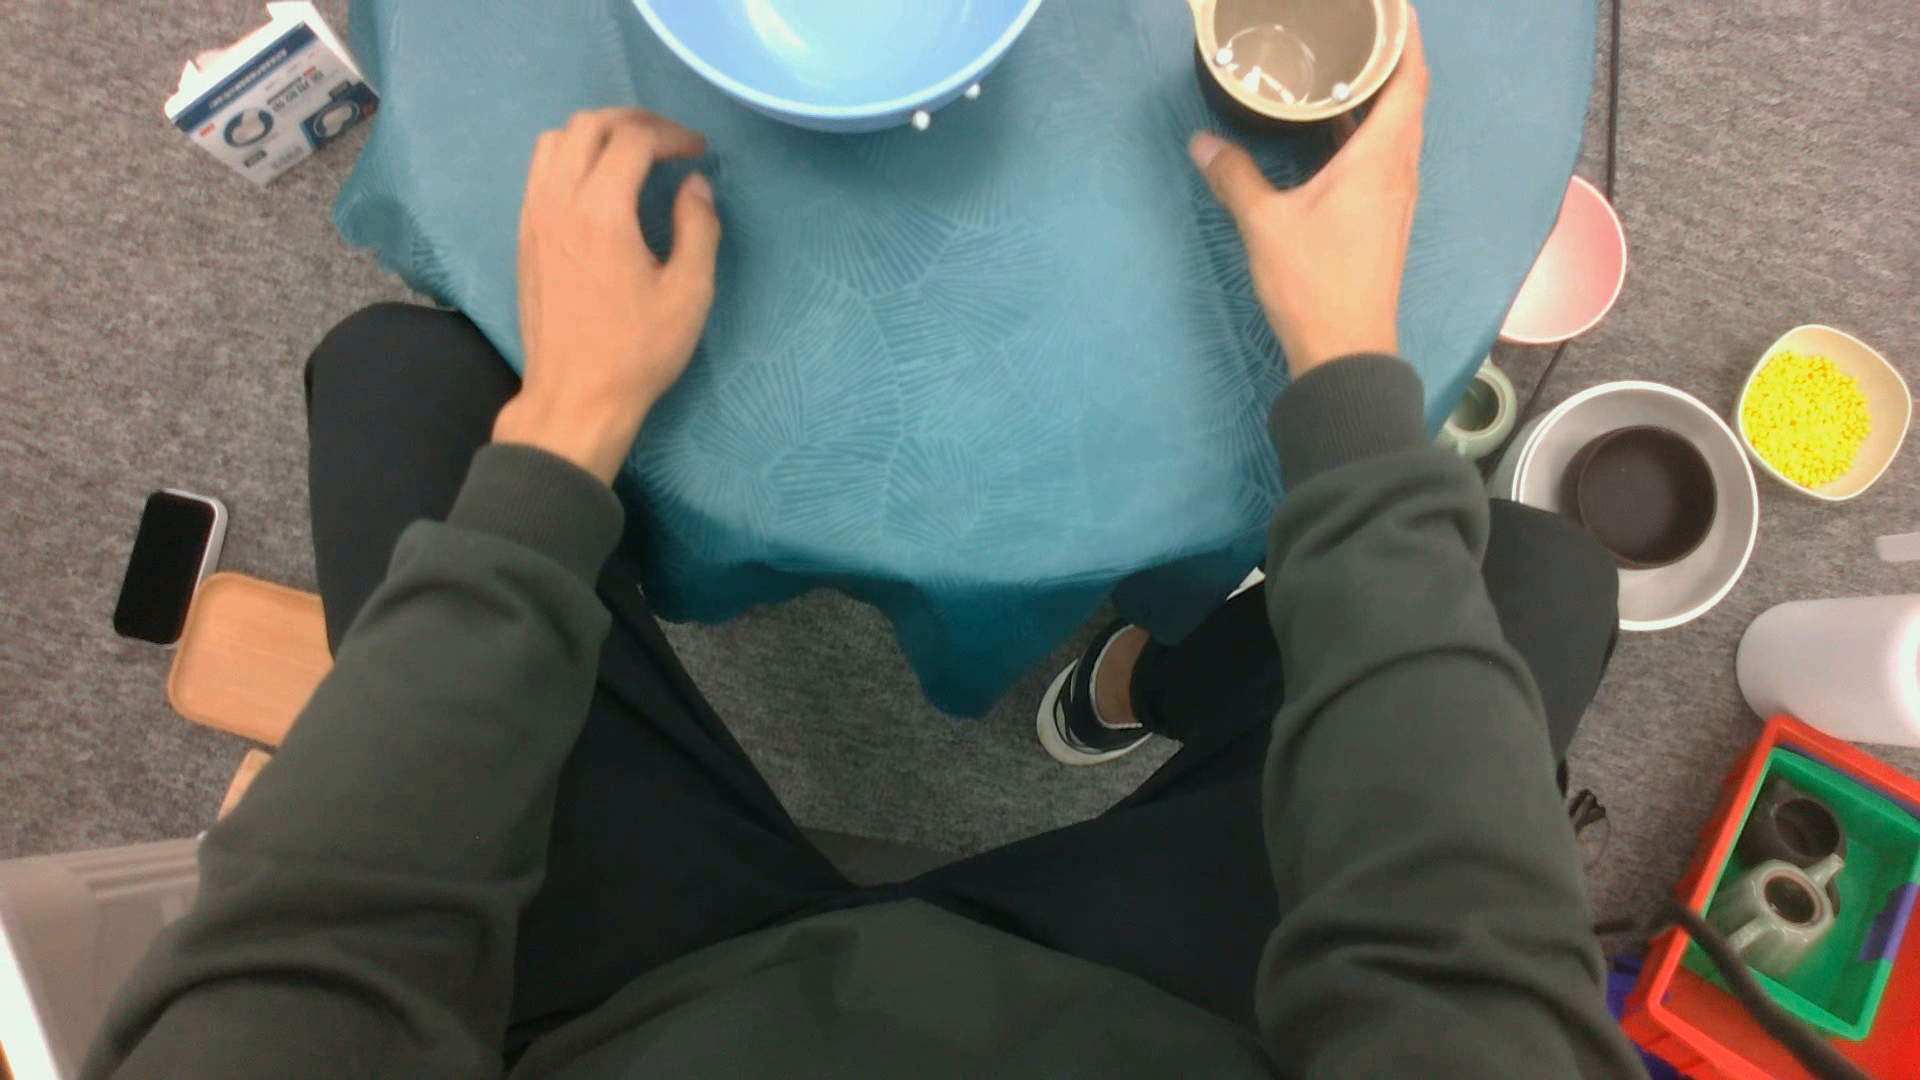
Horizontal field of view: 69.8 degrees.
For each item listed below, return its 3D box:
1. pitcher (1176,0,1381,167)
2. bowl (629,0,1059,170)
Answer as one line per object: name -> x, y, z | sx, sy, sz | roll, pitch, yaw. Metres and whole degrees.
pitcher -> 0.144, -0.220, 0.657 | 0.096, 0.071, 0.084 | 18, 86, 1
bowl -> -0.051, -0.260, 0.651 | 0.196, 0.095, 0.196 | 0, 86, 0
